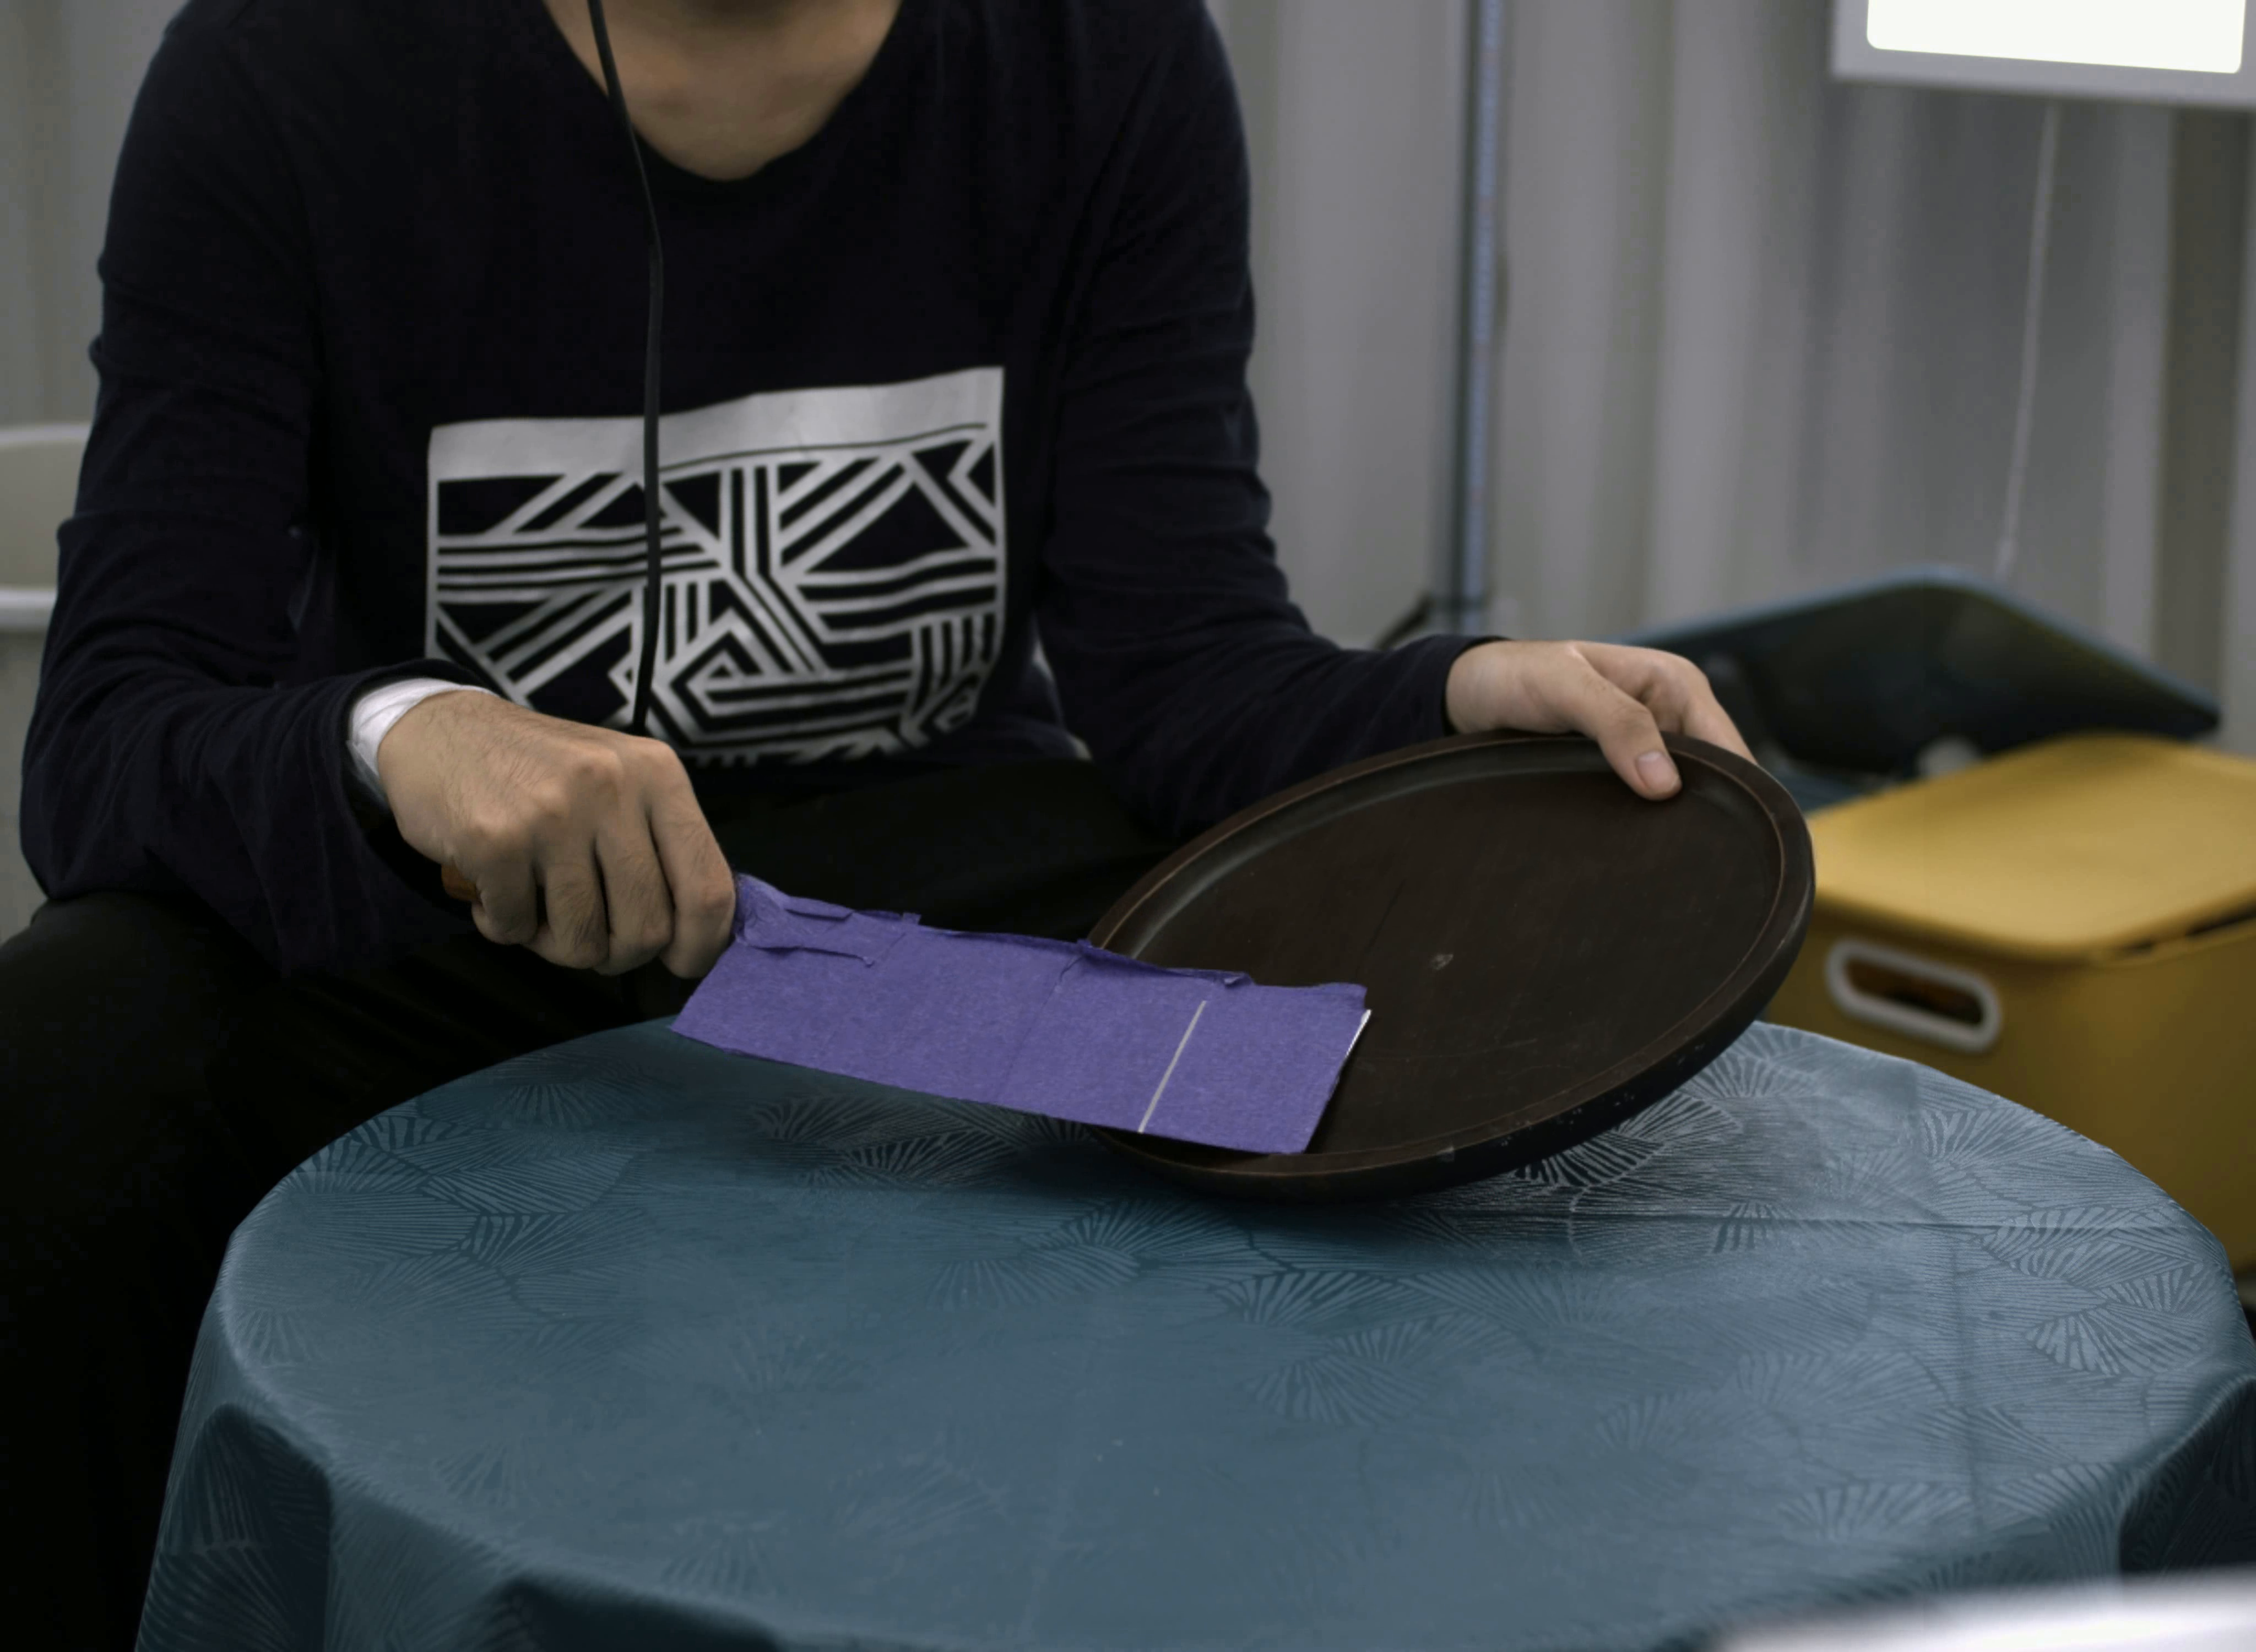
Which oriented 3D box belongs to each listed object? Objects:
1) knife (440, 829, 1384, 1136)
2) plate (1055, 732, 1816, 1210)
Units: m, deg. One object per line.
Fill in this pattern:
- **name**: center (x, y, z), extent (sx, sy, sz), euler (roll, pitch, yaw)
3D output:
- **knife**: center (-0.081, 0.049, 1.661), extent (0.312, 0.032, 0.103), euler (8, 30, 14)
- **plate**: center (0.096, 0.044, 1.678), extent (0.253, 0.029, 0.252), euler (-14, 30, 9)
